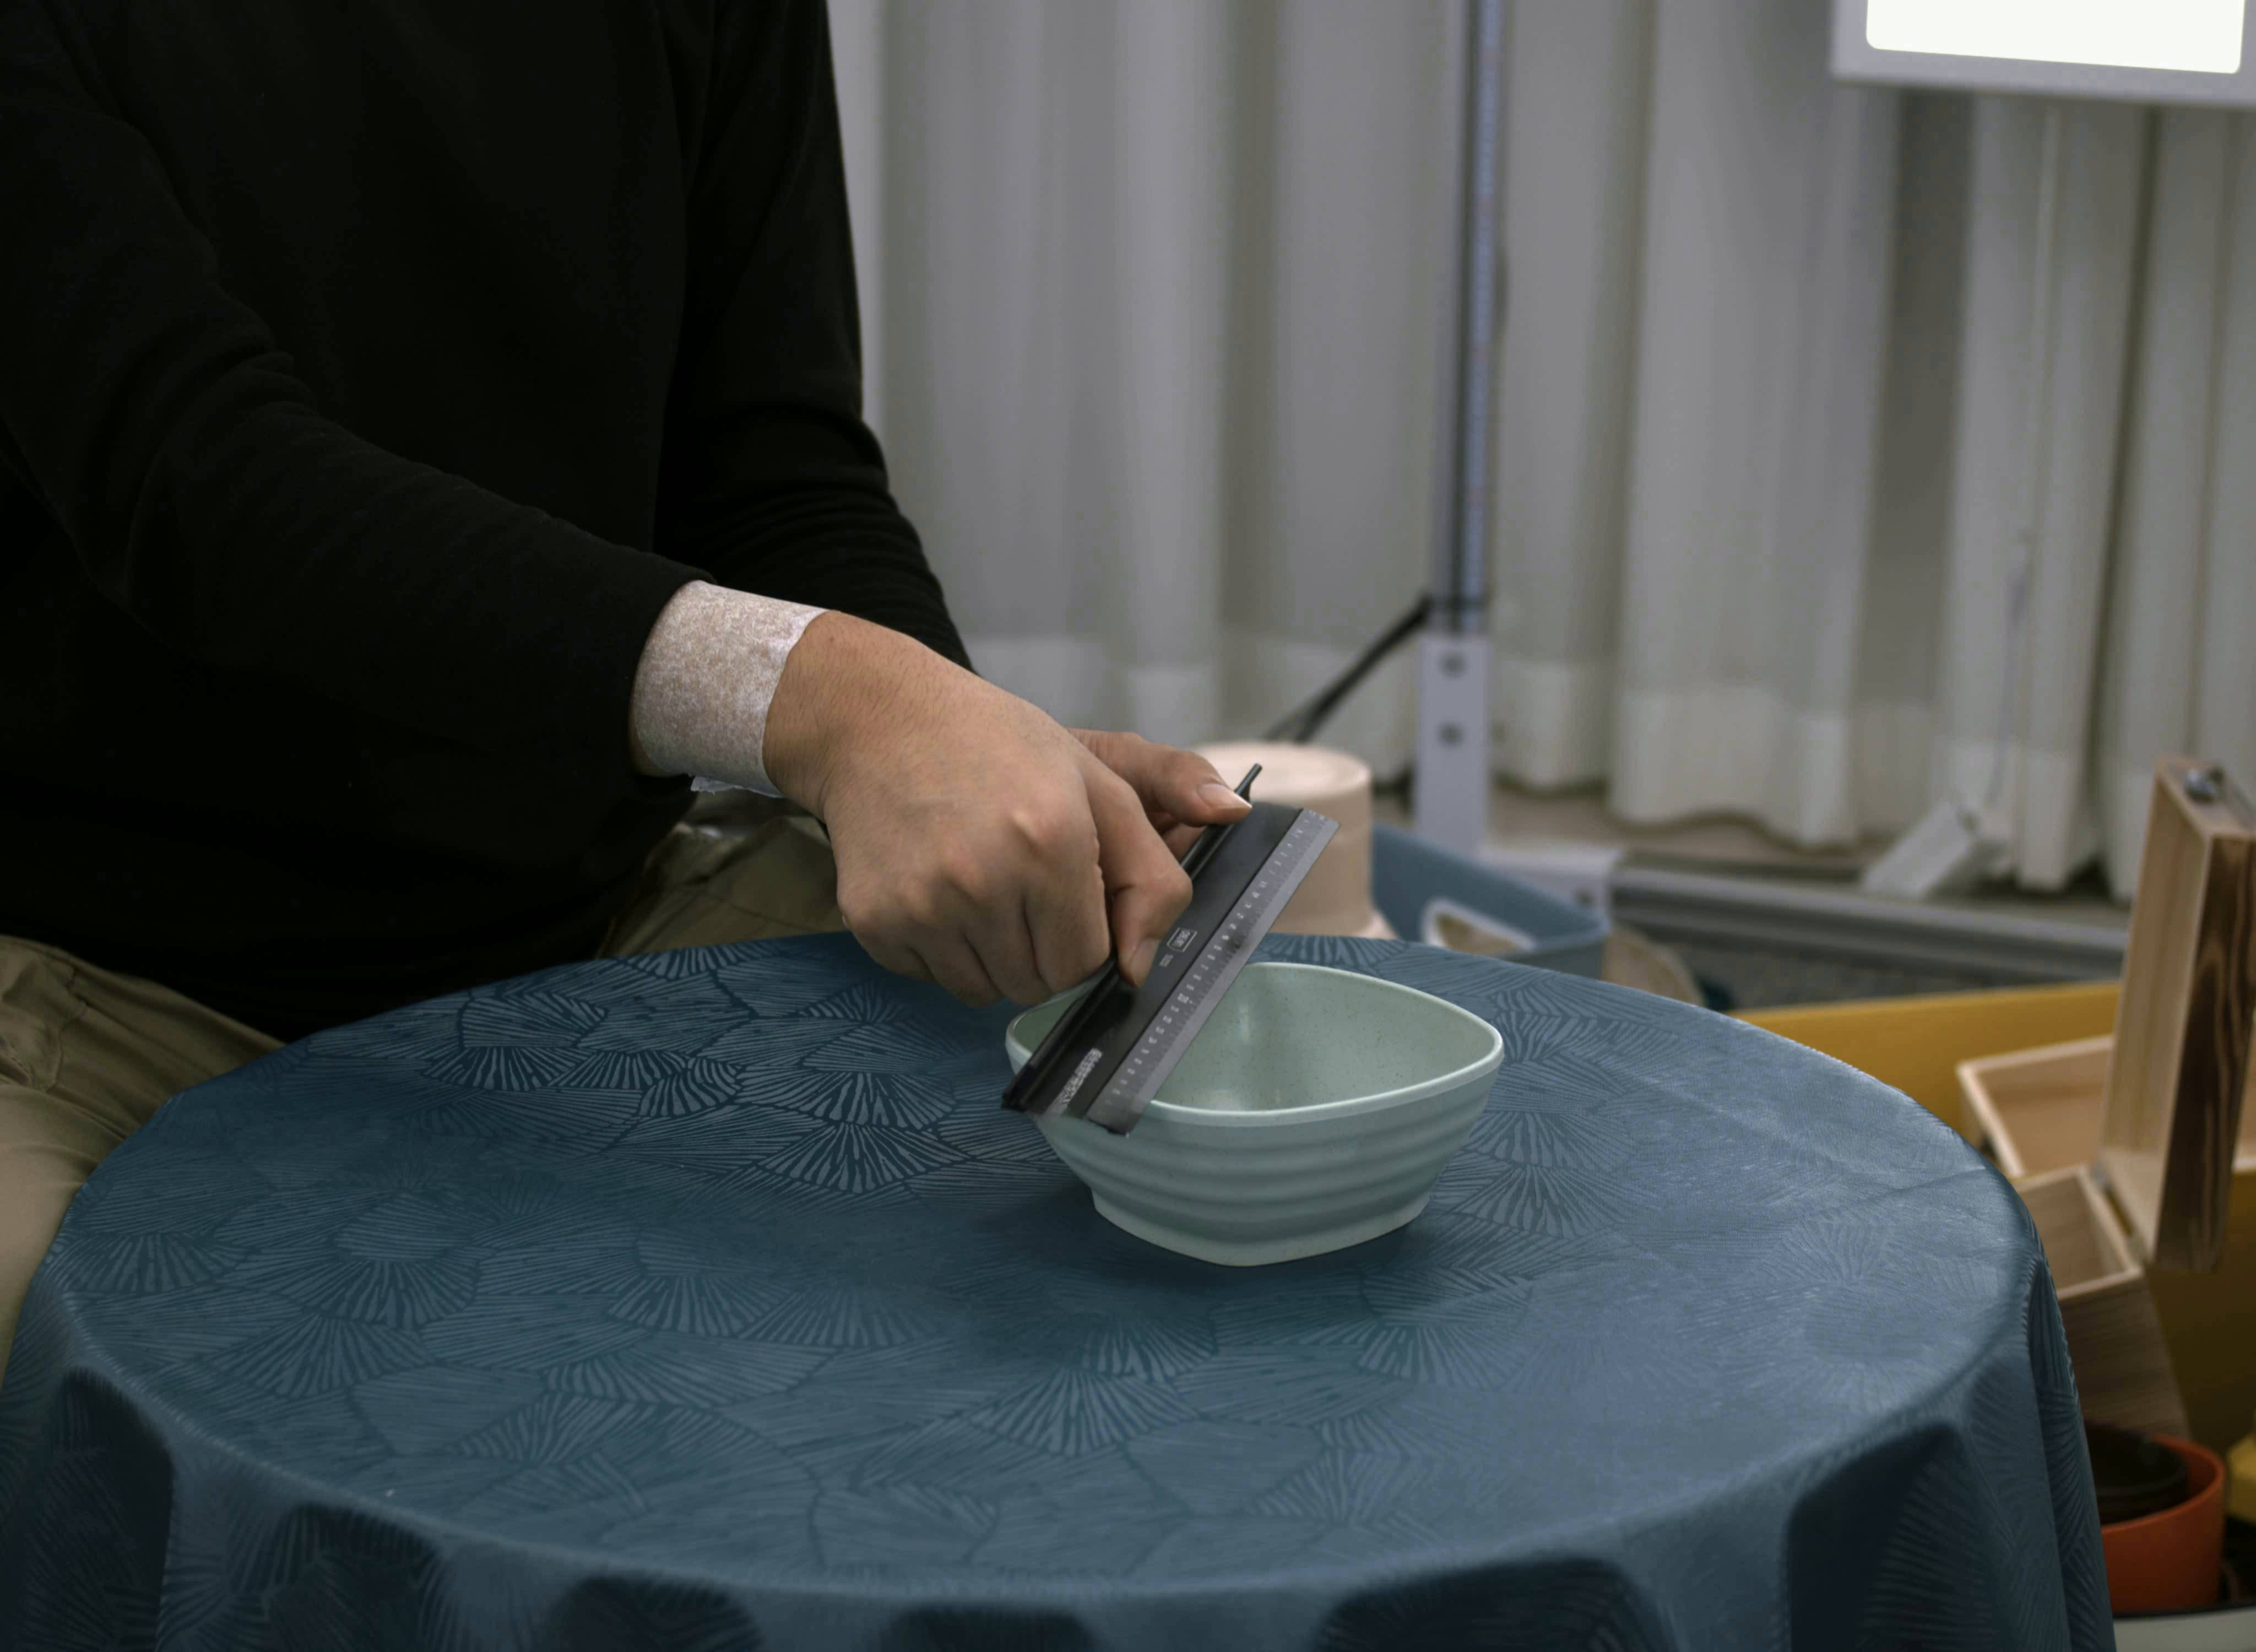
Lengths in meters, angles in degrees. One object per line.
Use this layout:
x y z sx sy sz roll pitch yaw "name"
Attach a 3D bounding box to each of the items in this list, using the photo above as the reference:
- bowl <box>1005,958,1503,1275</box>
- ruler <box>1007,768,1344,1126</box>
0.038 0.091 1.597 0.151 0.059 0.150 1 17 0 "bowl"
0.020 0.033 1.636 0.039 0.017 0.312 17 19 9 "ruler"
